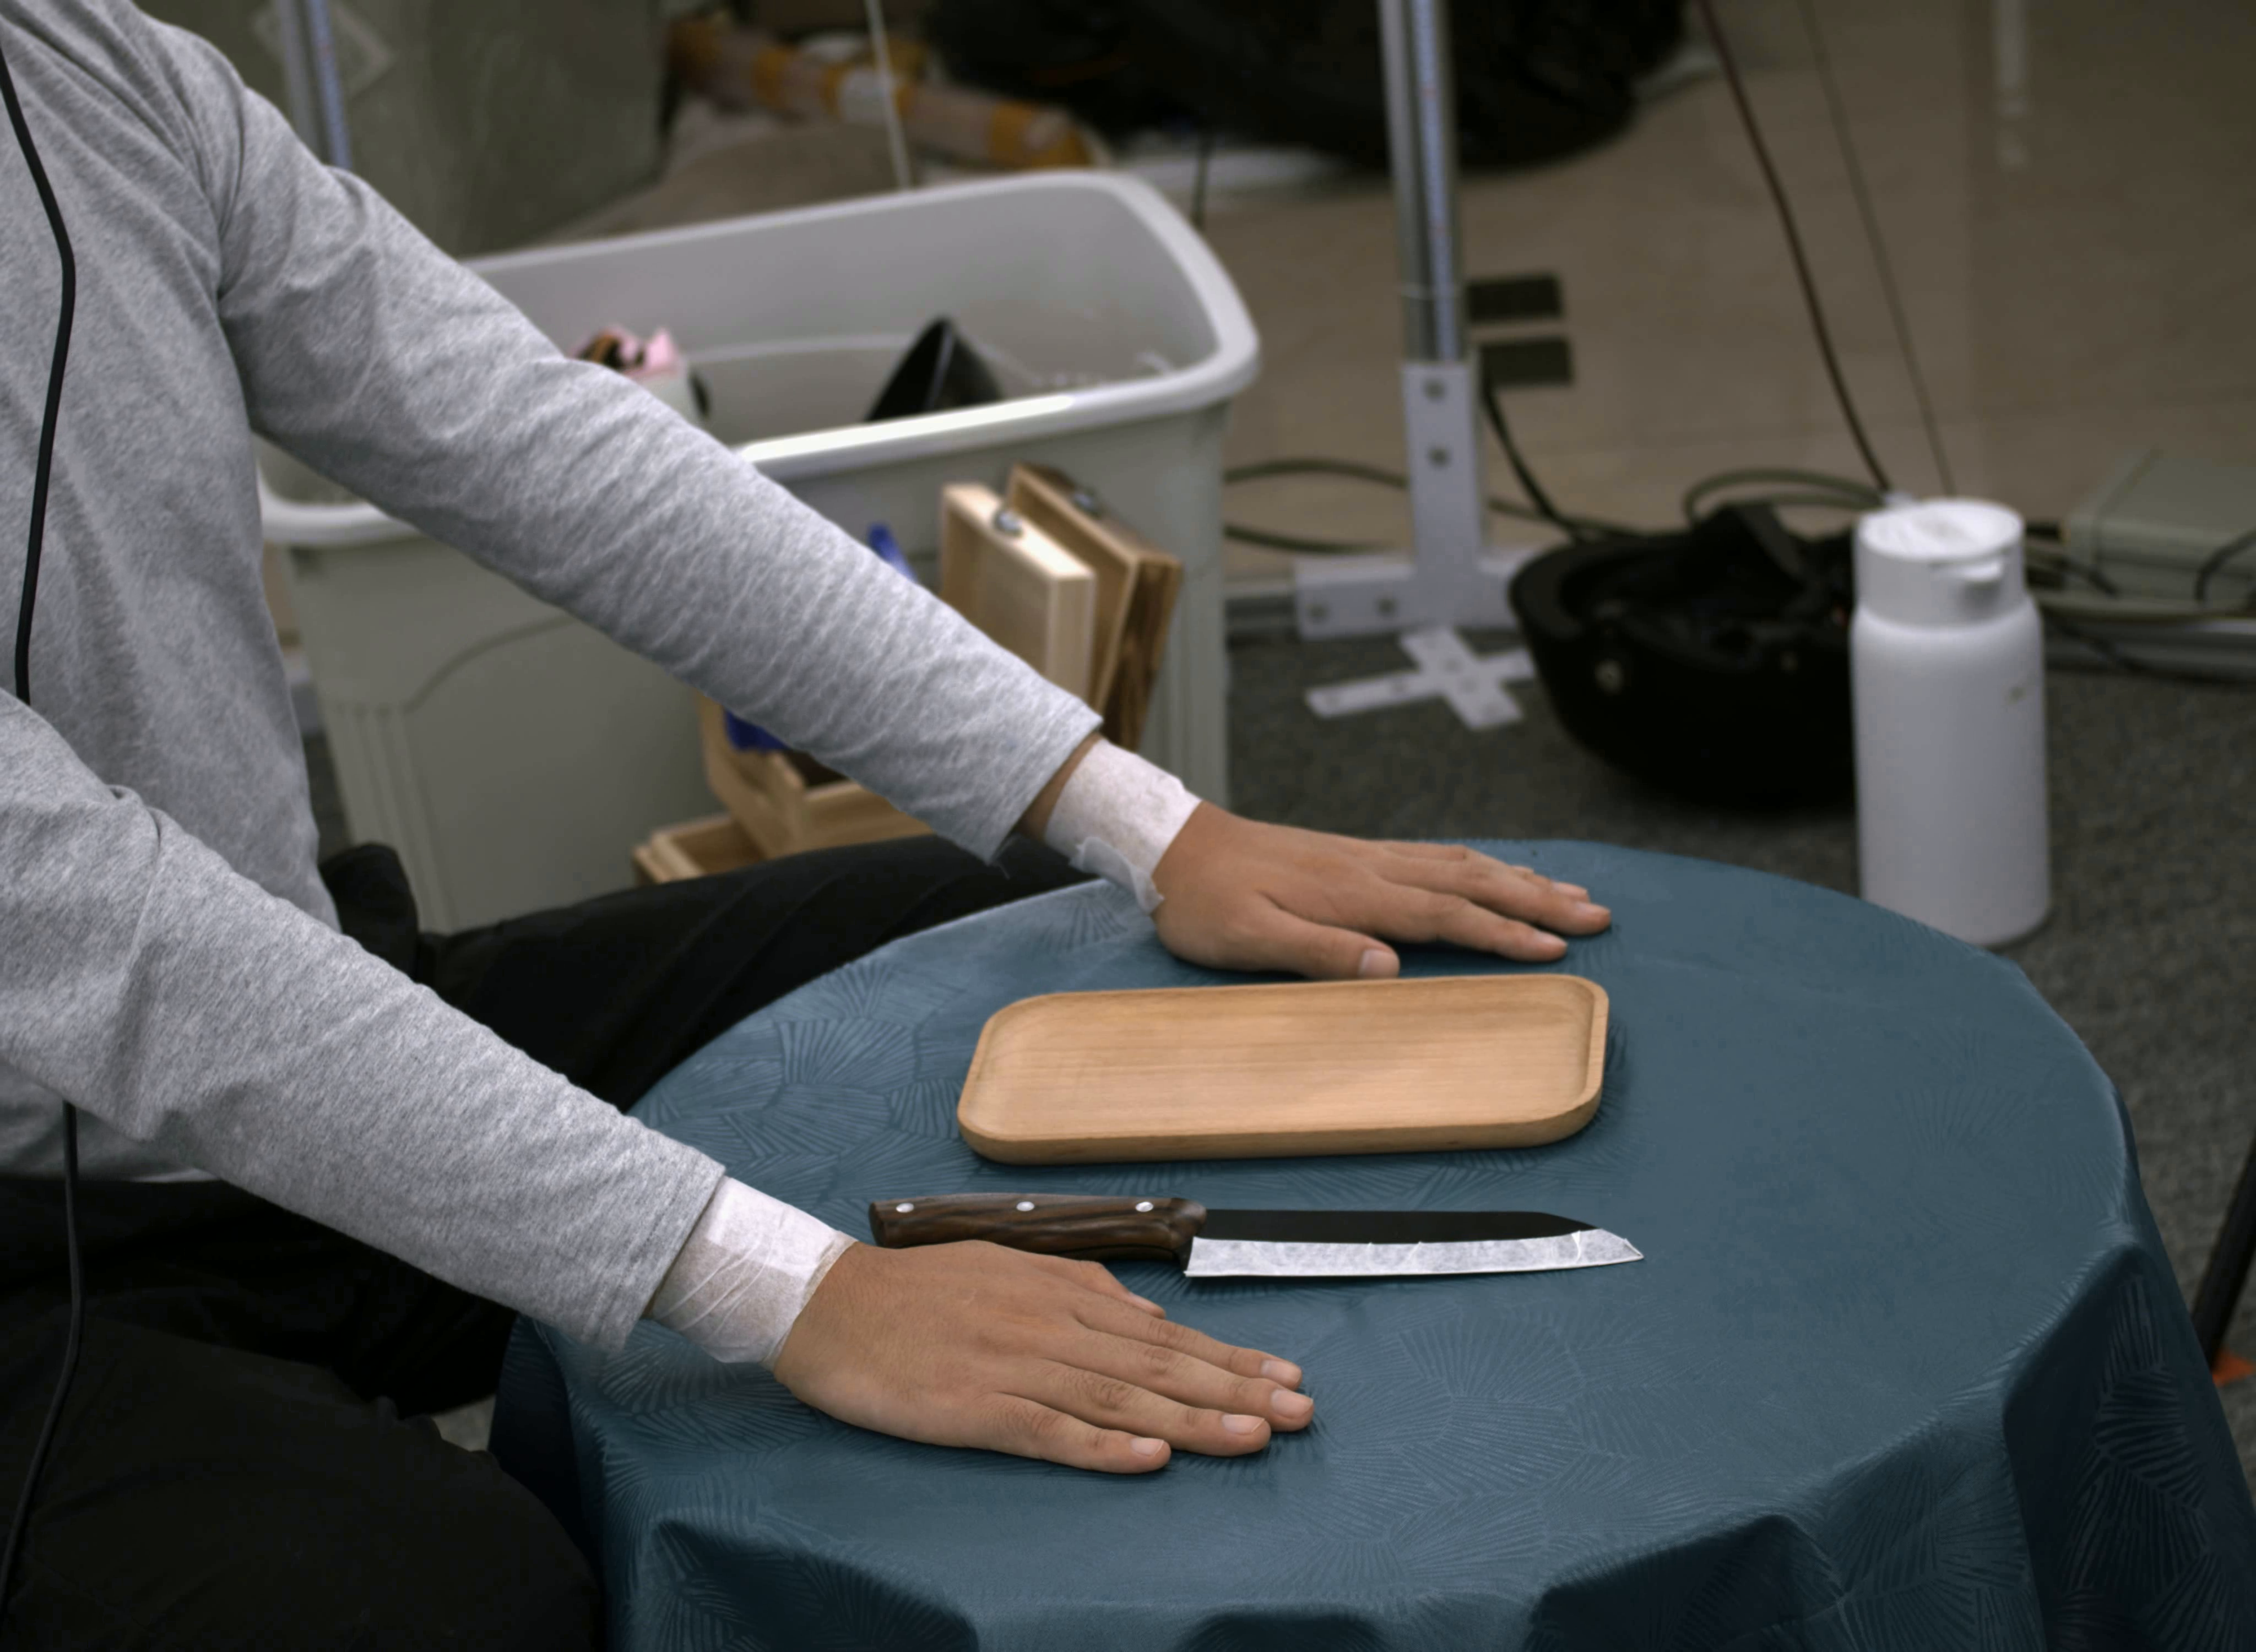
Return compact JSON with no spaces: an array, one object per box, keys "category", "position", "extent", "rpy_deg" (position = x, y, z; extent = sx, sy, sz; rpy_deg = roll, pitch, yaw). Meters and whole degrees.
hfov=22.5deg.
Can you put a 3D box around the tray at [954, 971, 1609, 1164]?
[{"category":"tray","position":[0.061,0.095,2.213],"extent":[0.250,0.023,0.129],"rpy_deg":[-3,23,10]}]

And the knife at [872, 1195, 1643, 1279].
[{"category":"knife","position":[0.046,0.153,2.093],"extent":[0.288,0.020,0.049],"rpy_deg":[1,31,10]}]
